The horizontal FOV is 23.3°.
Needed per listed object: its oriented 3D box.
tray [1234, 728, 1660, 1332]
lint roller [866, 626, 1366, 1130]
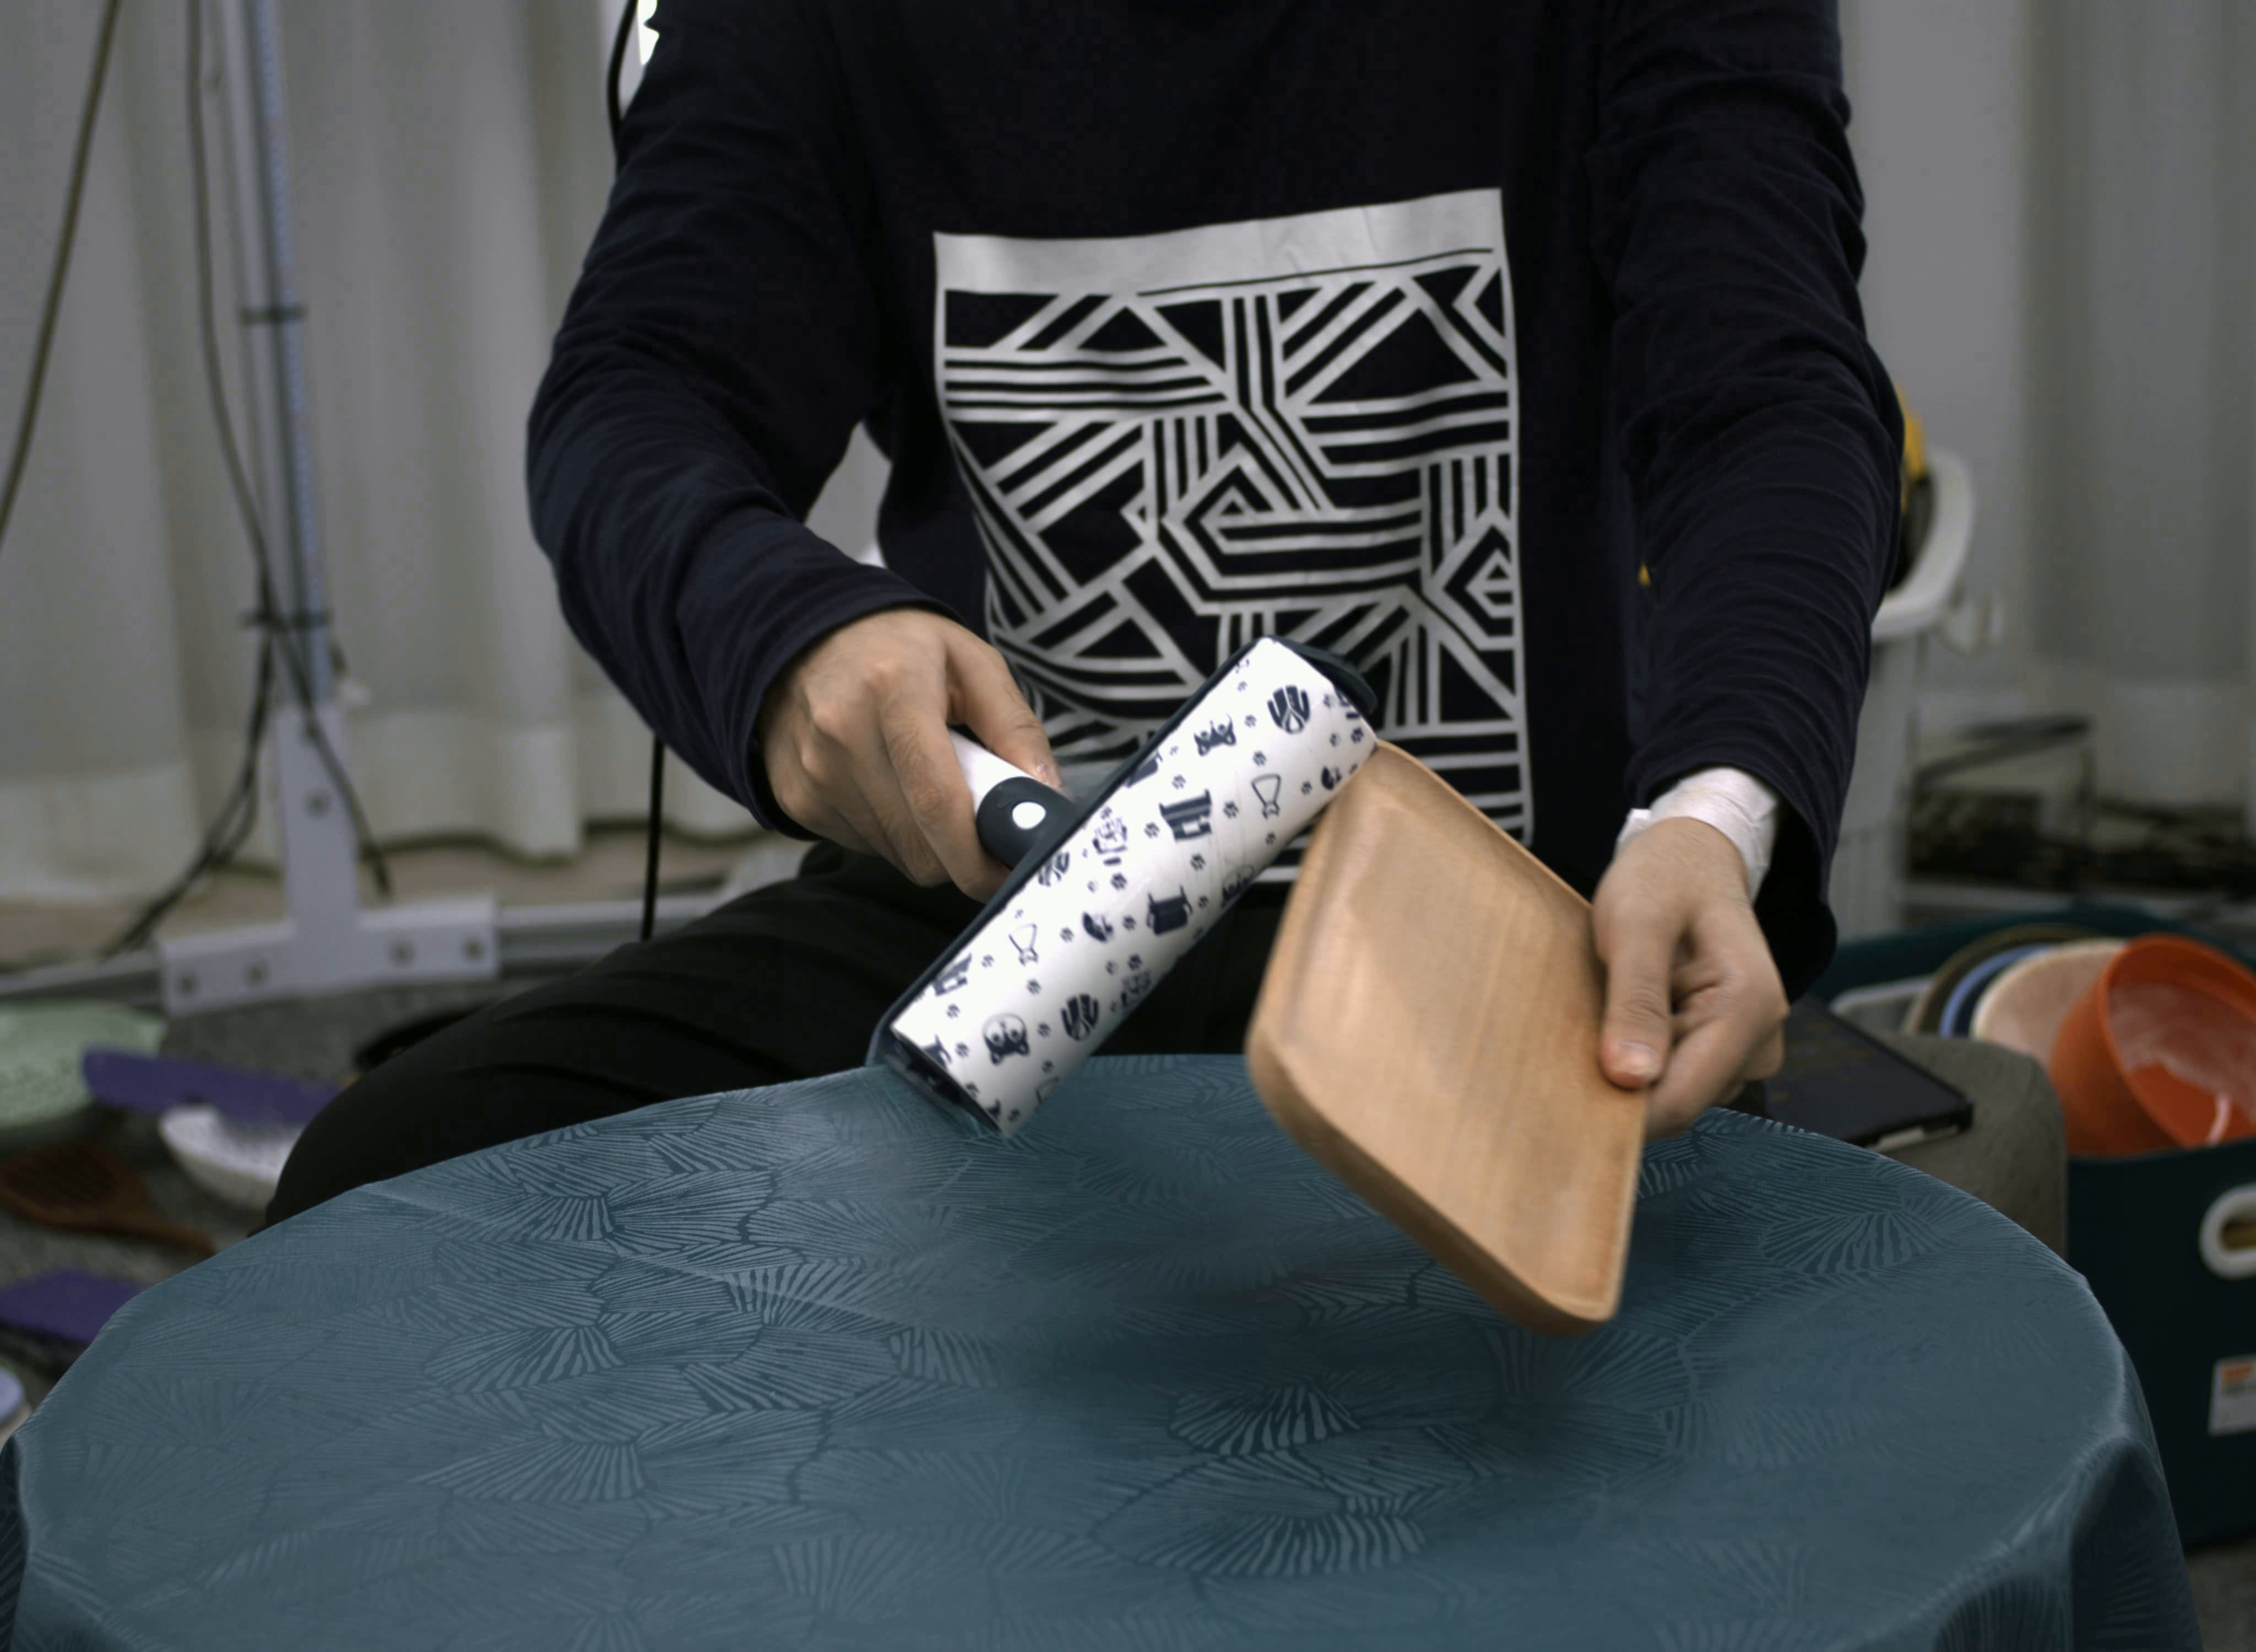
[{"bbox_3d":[0.093,0.055,1.566,0.023,0.130,0.252,-44,8,22],"label":"tray"},{"bbox_3d":[-0.039,-0.003,1.682,0.176,0.050,0.249,-47,25,-8],"label":"lint roller"}]
